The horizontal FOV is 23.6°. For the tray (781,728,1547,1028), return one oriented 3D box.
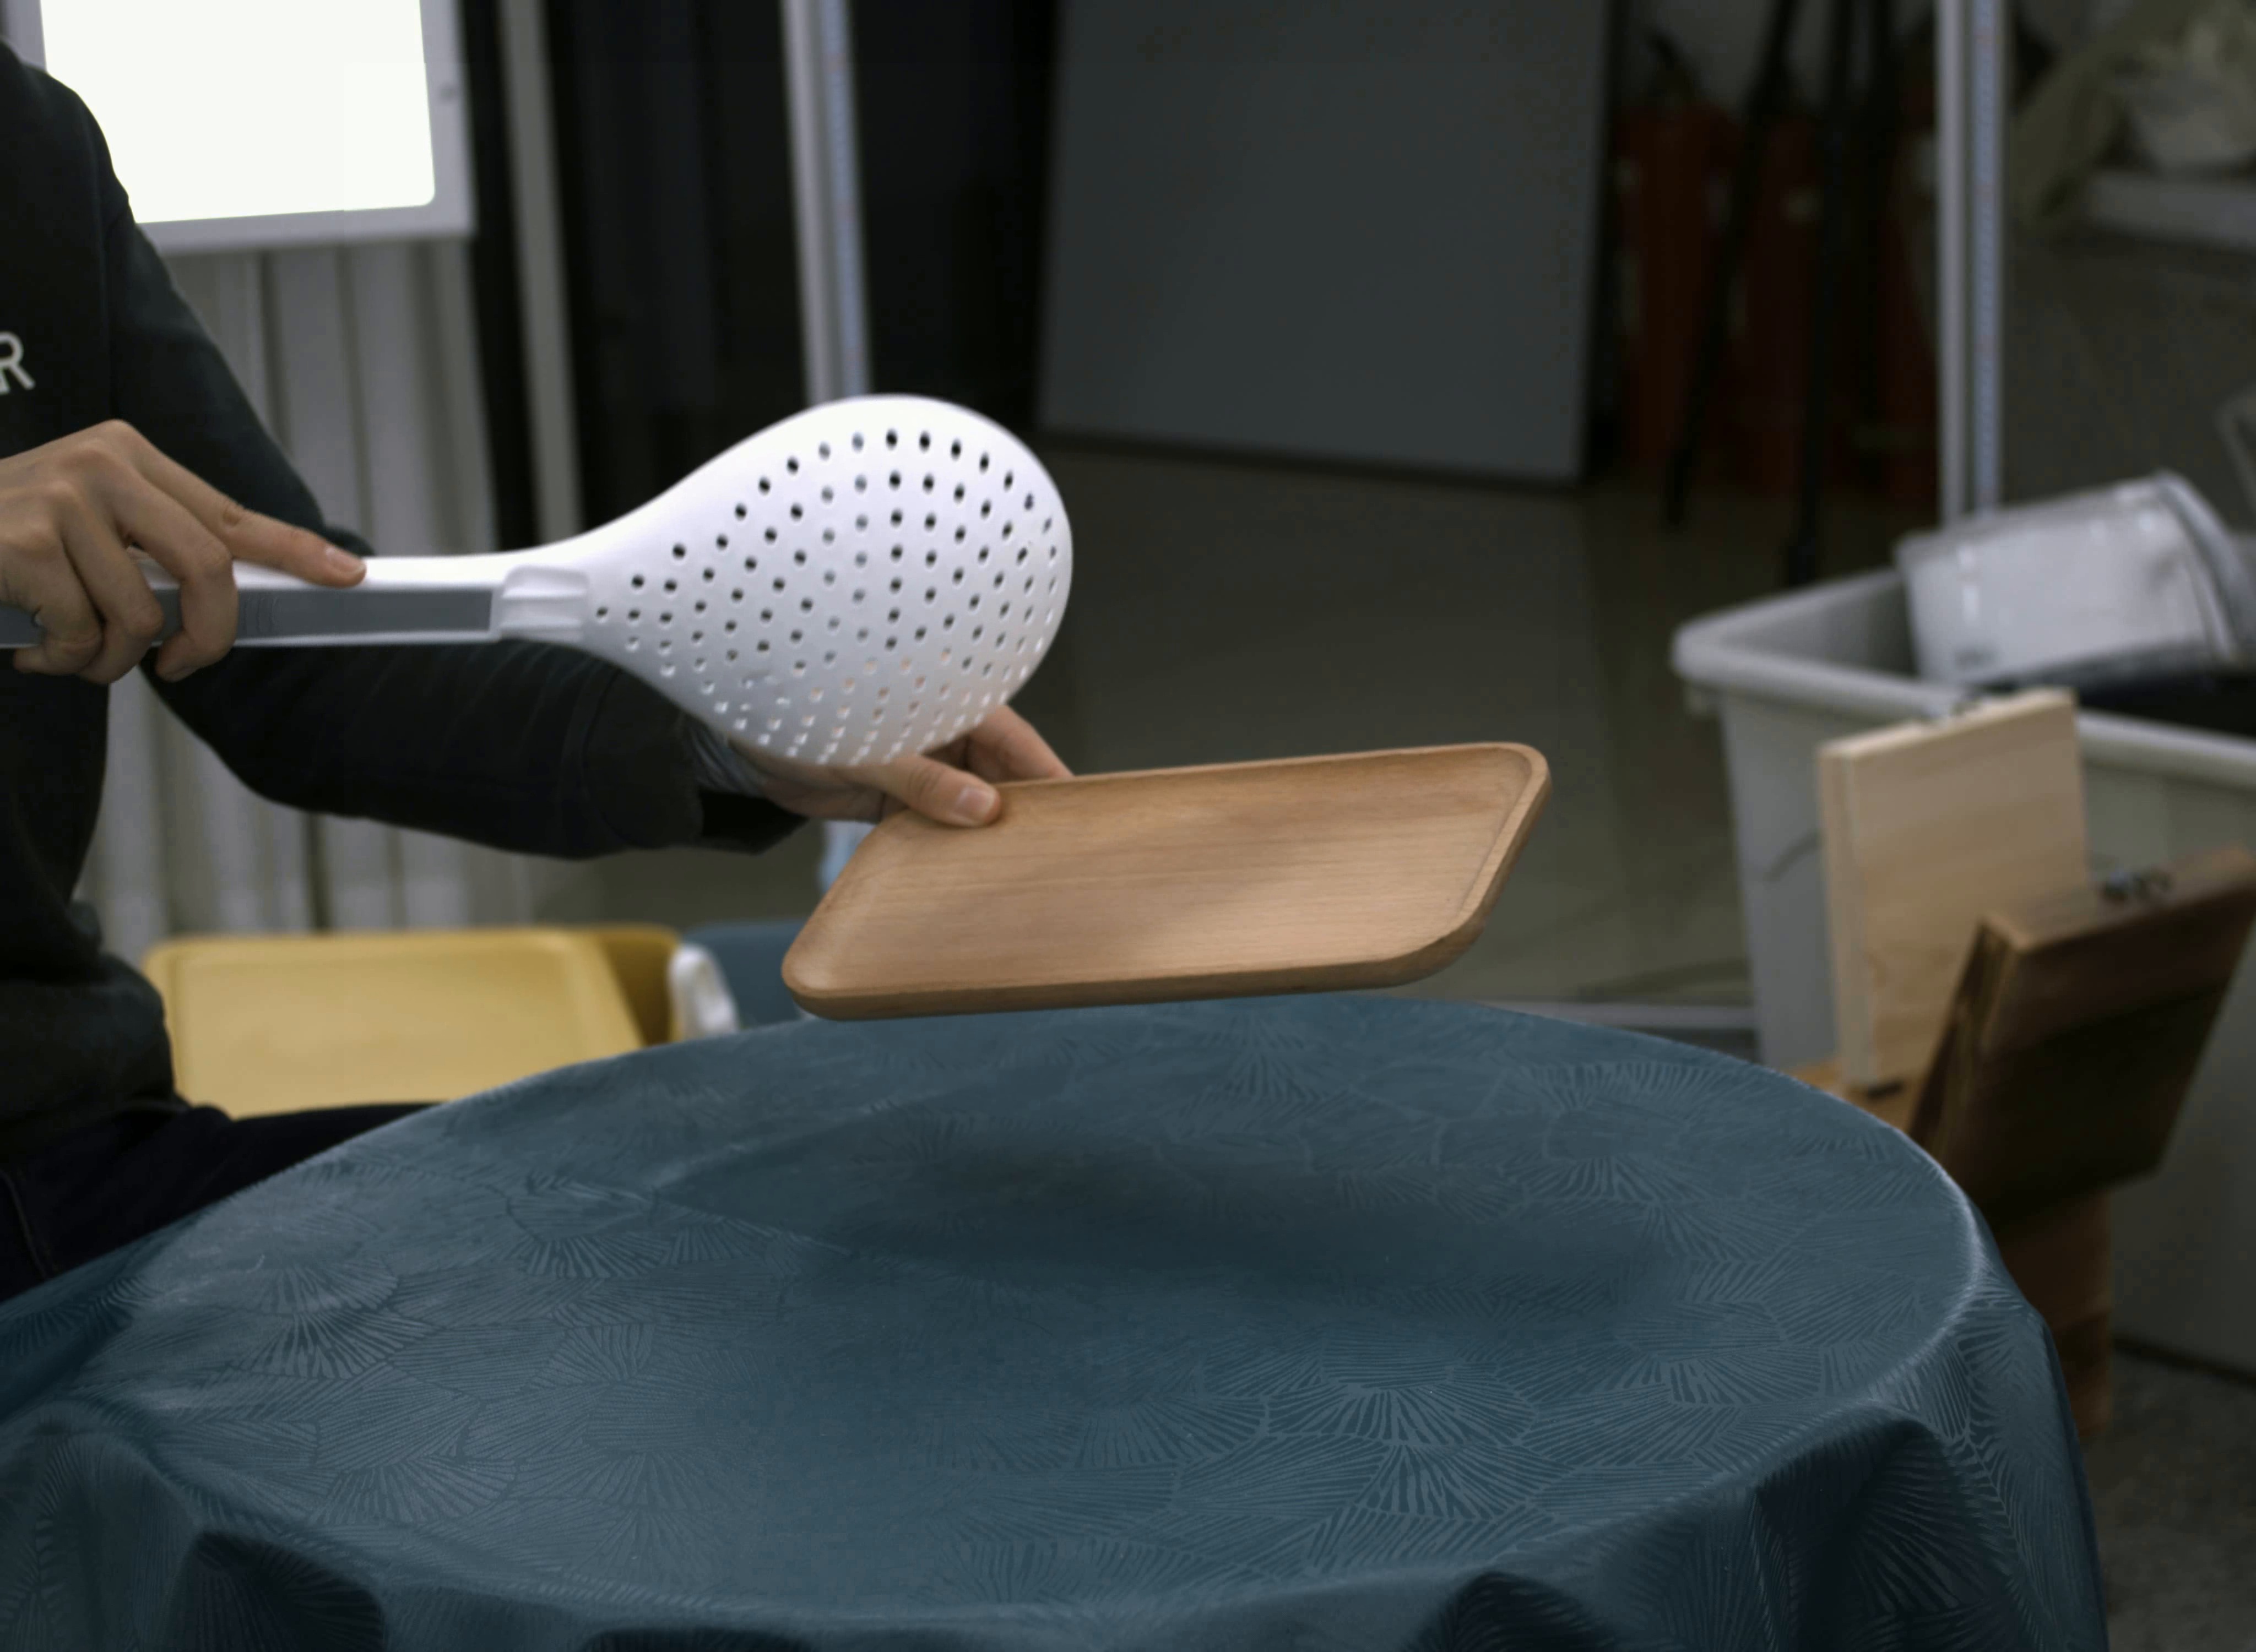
[{"bbox_3d":[0.011,0.018,1.742,0.251,0.023,0.130,-6,29,29],"label":"tray"}]

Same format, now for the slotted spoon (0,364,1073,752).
[{"bbox_3d":[-0.184,-0.077,1.701,0.343,0.137,0.046,0,29,-10],"label":"slotted spoon"}]
